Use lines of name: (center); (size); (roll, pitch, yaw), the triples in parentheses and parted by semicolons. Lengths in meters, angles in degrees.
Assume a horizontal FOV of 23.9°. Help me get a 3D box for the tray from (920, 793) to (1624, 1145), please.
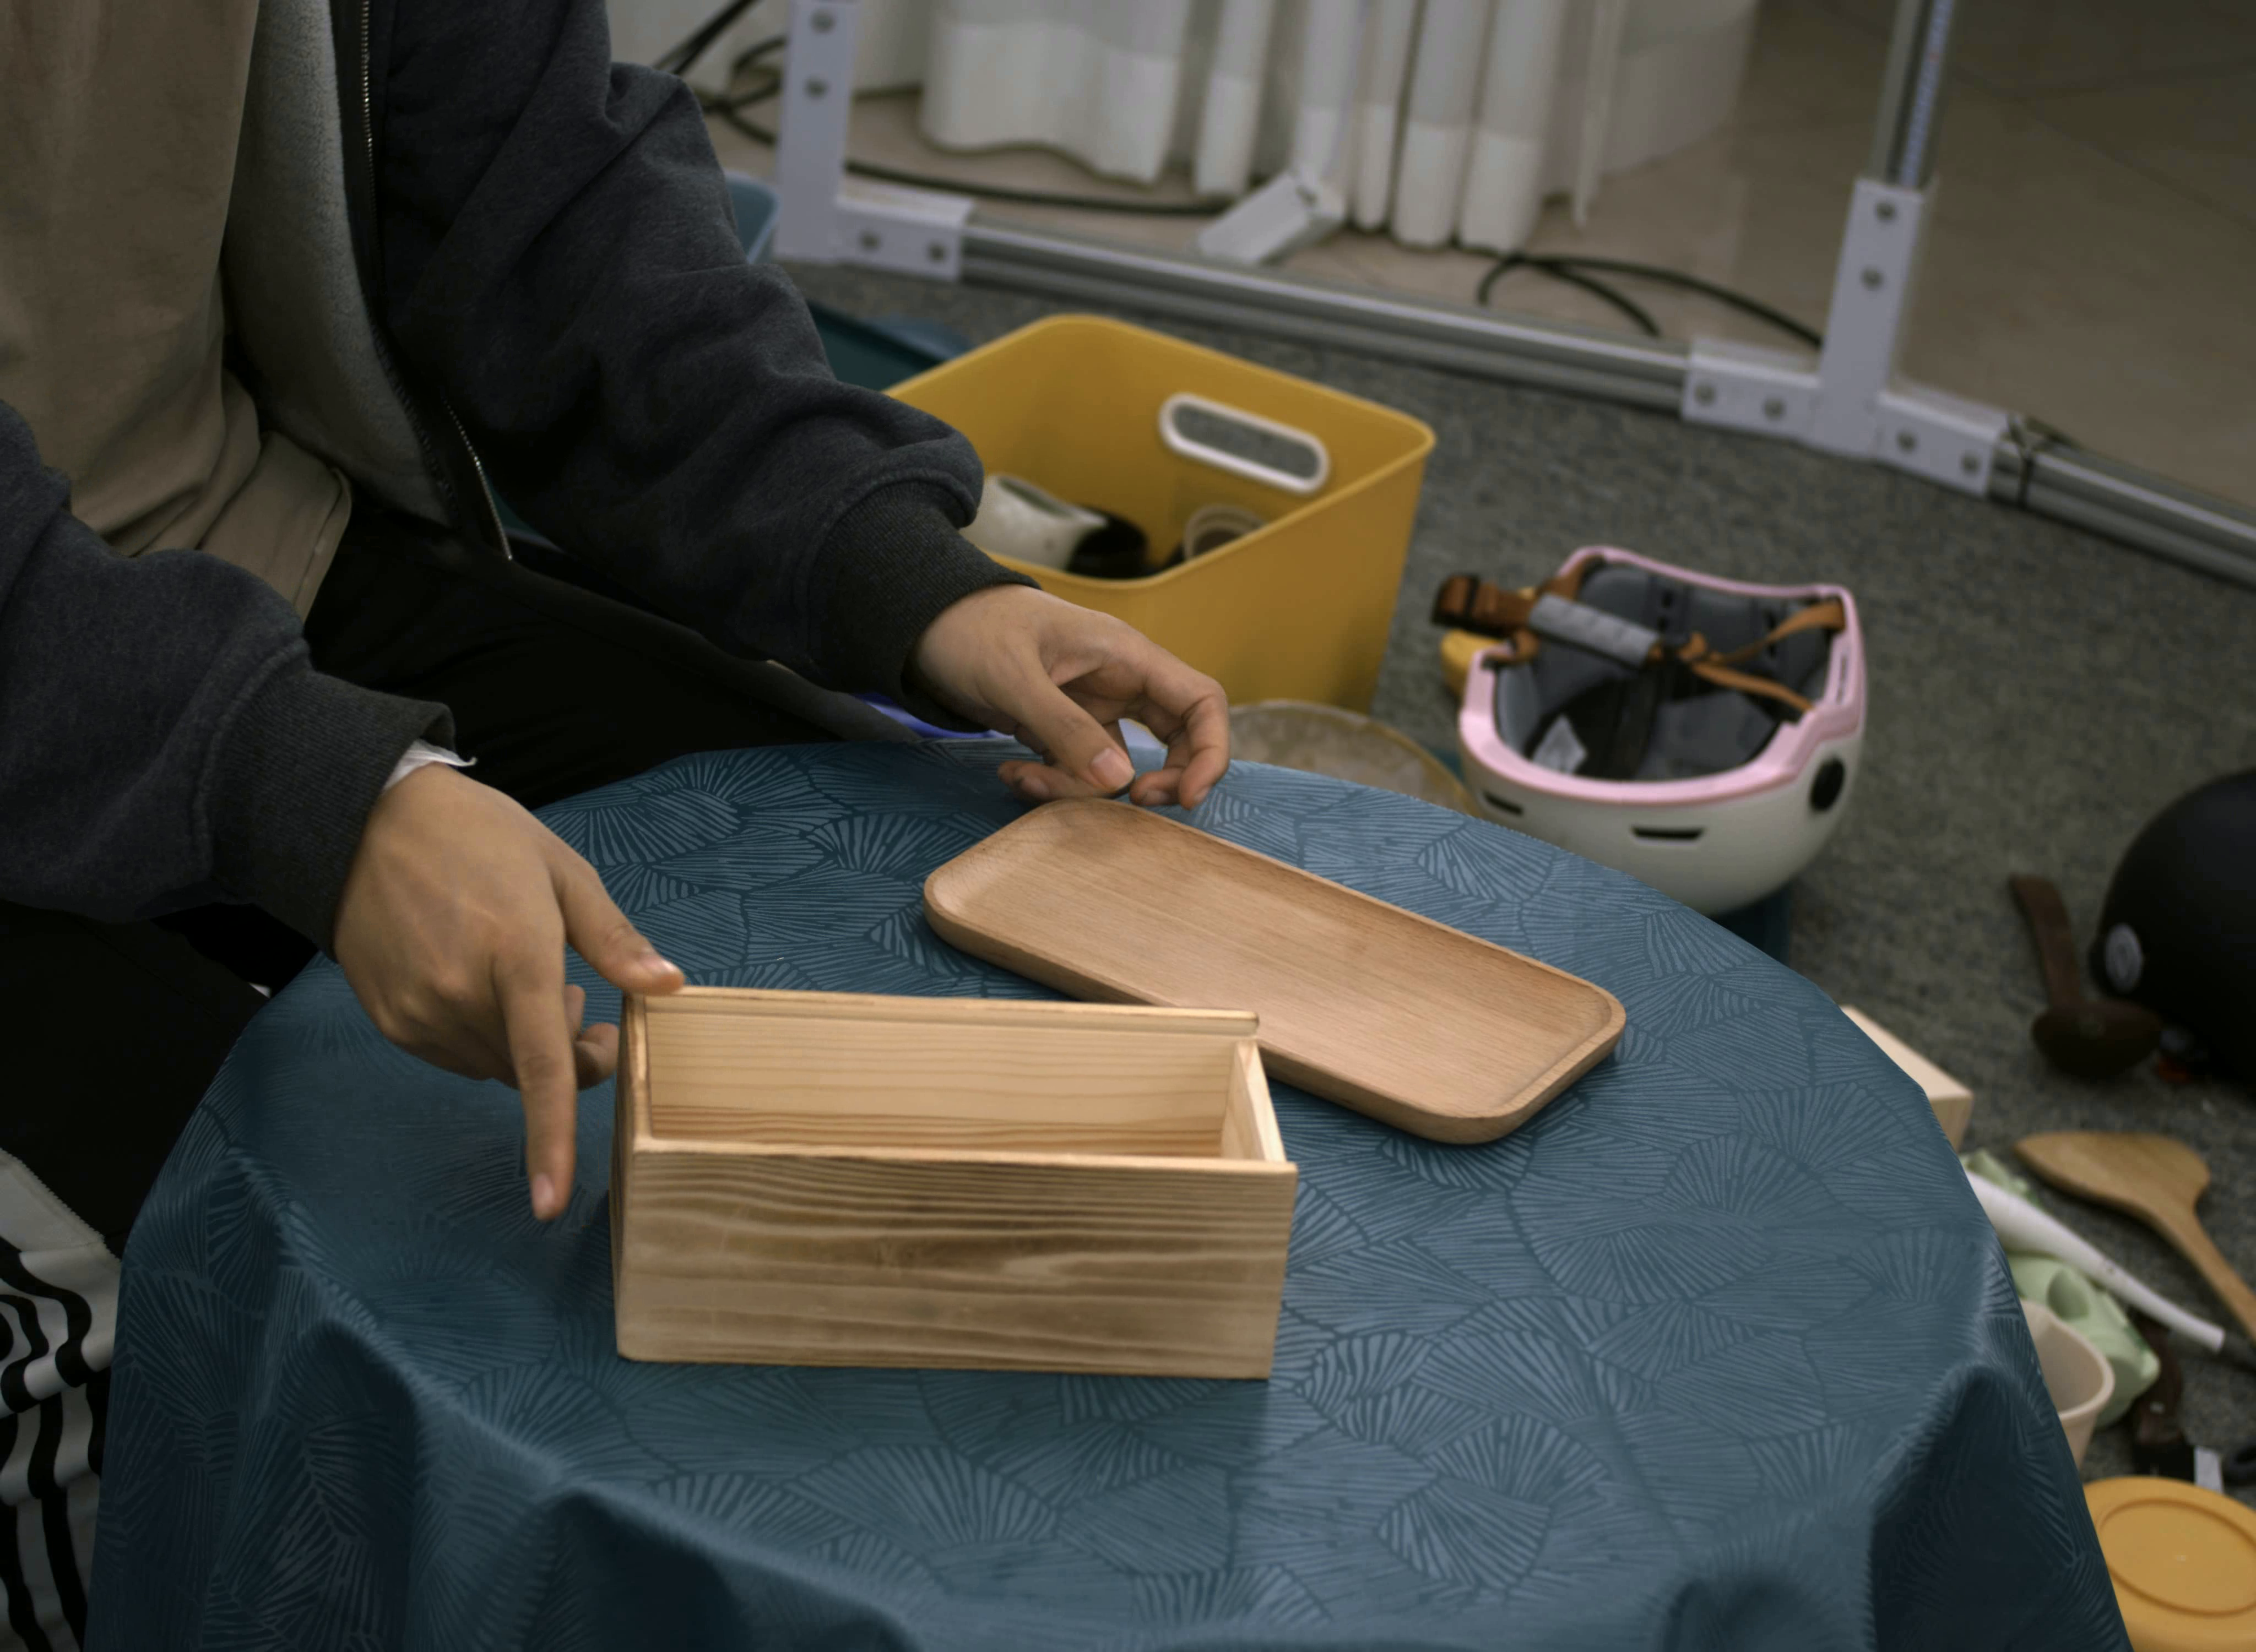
tray: (0.051, 0.050, 1.937); (0.252, 0.023, 0.130); (21, 28, 27)

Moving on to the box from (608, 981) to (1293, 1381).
box: (-0.061, 0.114, 1.719); (0.210, 0.080, 0.108); (3, 27, -8)
